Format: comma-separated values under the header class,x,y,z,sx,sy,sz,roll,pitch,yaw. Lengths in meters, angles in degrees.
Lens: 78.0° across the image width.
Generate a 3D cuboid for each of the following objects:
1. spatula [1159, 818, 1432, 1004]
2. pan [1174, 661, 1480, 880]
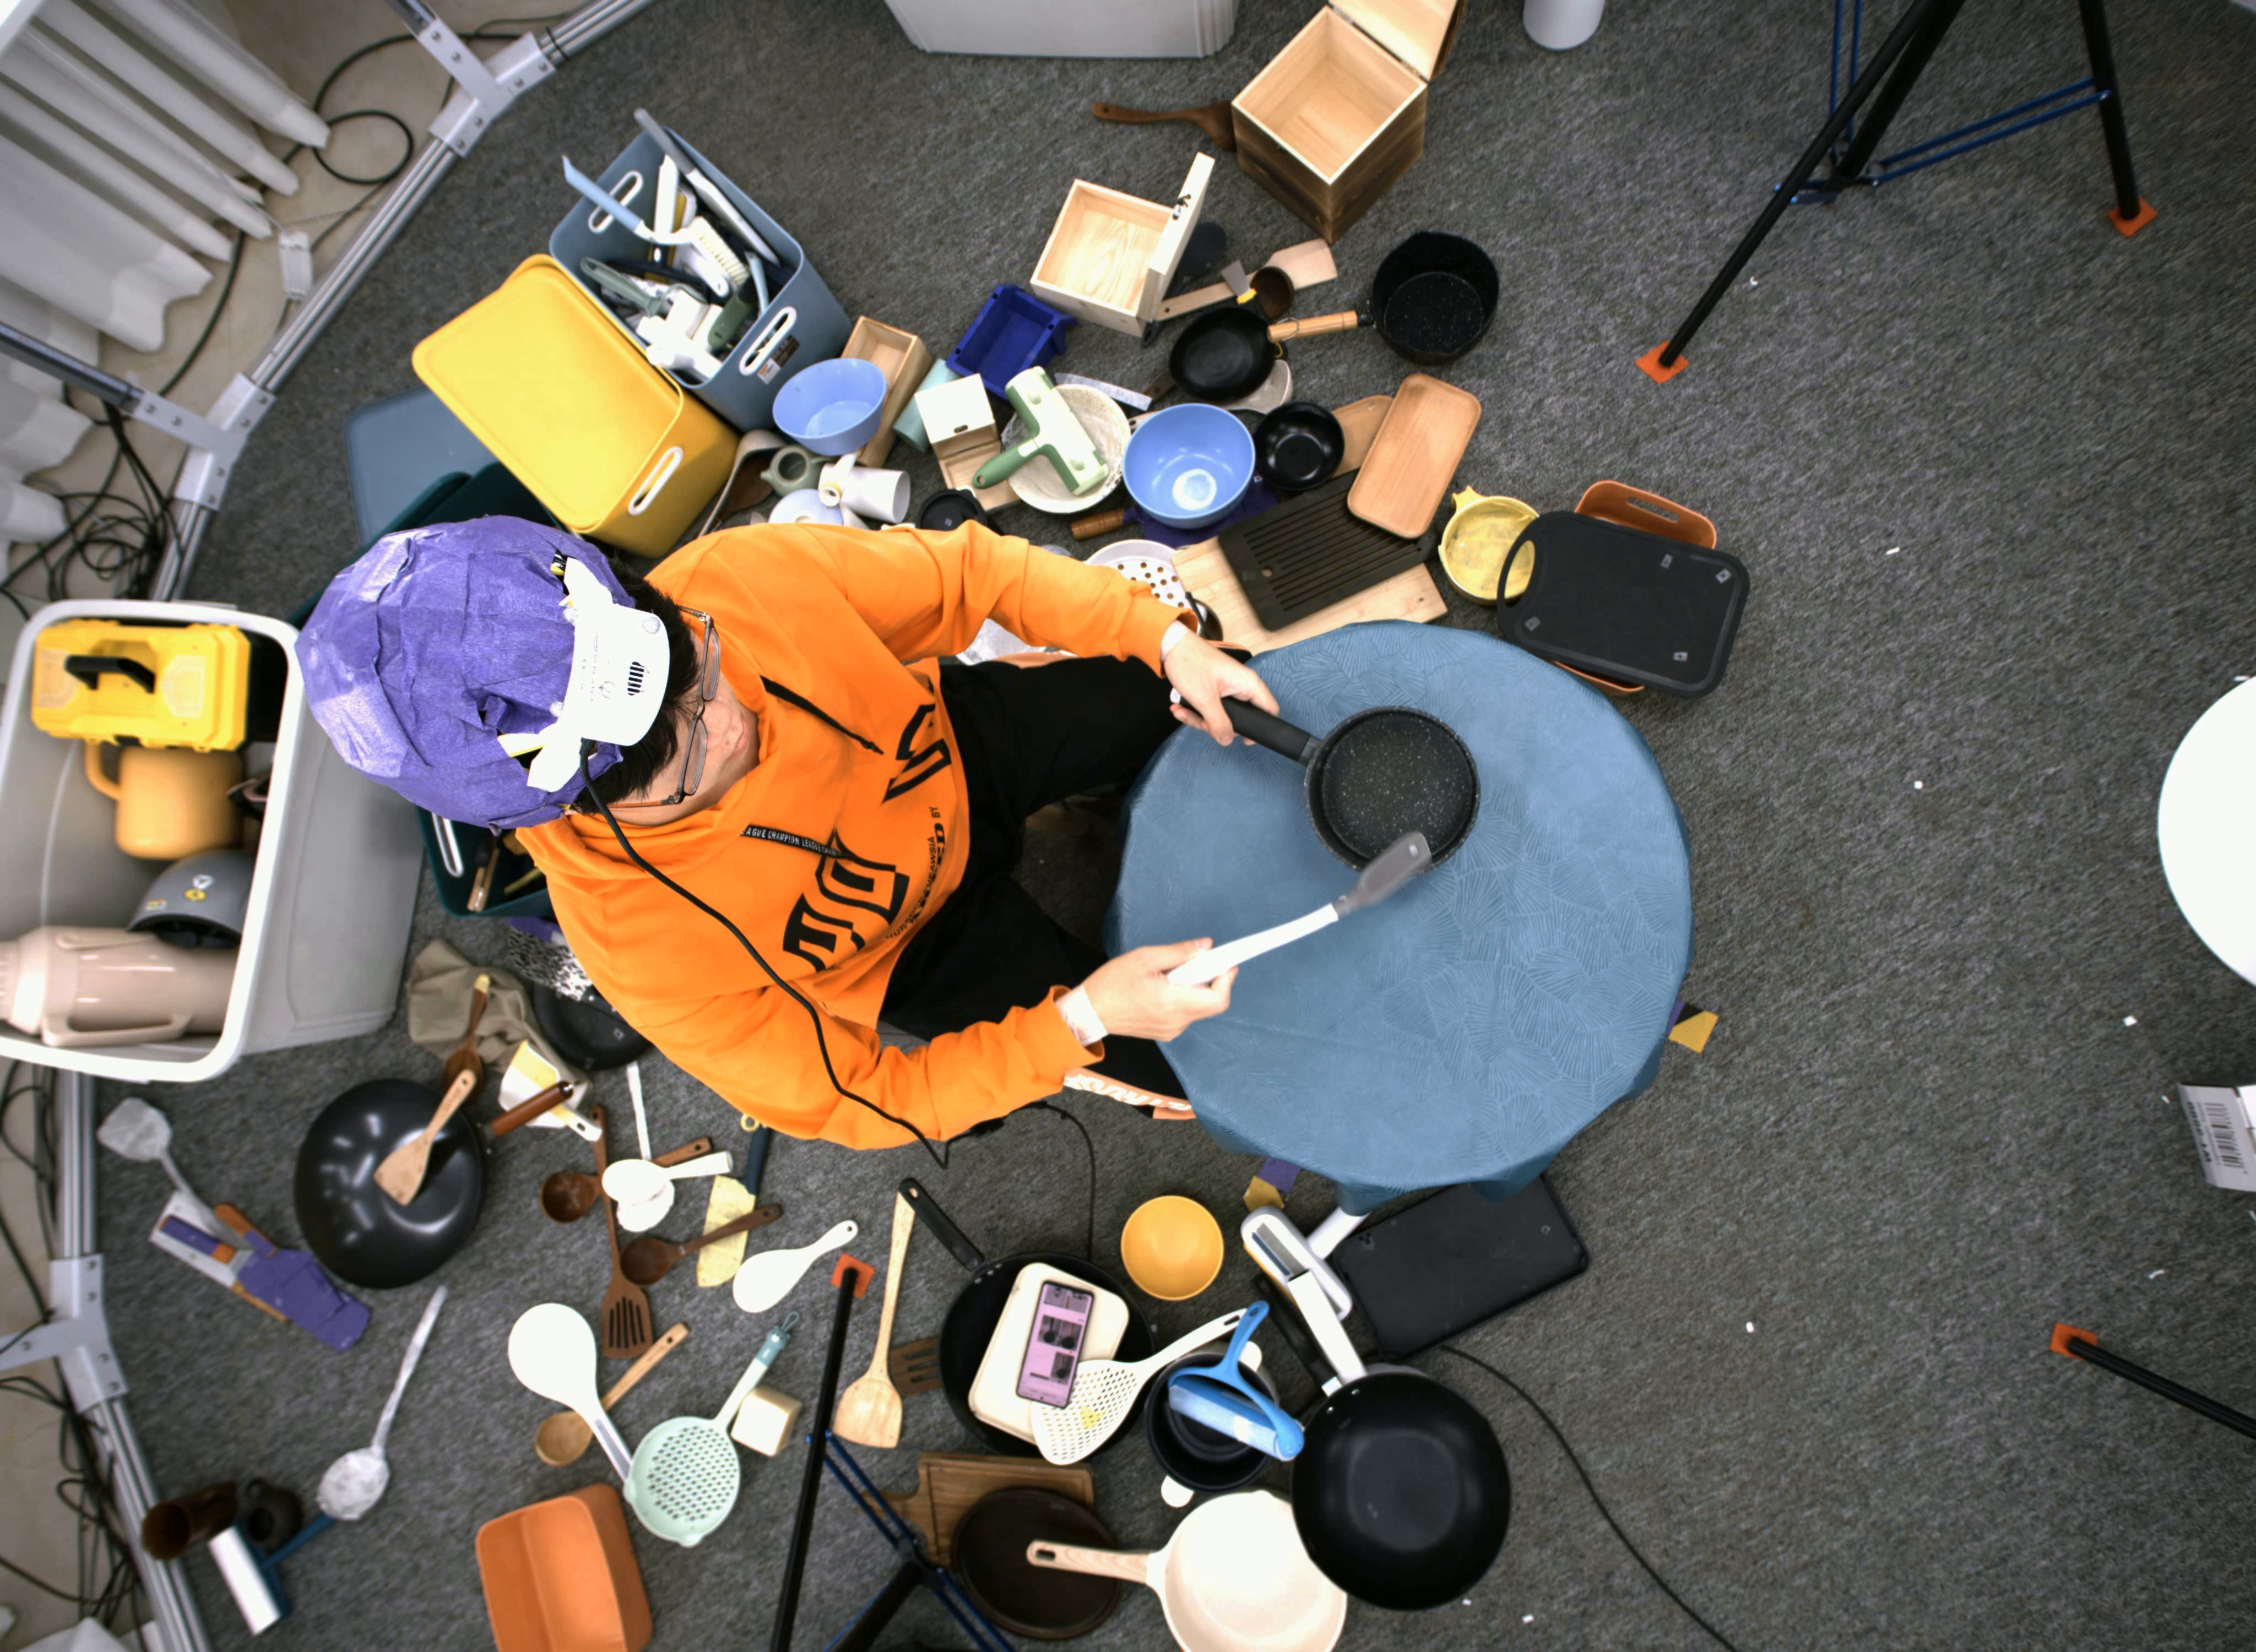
class,x,y,z,sx,sy,sz,roll,pitch,yaw
spatula,0.156,0.081,1.283,0.291,0.057,0.032,-32,112,16
pan,0.199,-0.074,1.399,0.328,0.086,0.174,30,102,9
